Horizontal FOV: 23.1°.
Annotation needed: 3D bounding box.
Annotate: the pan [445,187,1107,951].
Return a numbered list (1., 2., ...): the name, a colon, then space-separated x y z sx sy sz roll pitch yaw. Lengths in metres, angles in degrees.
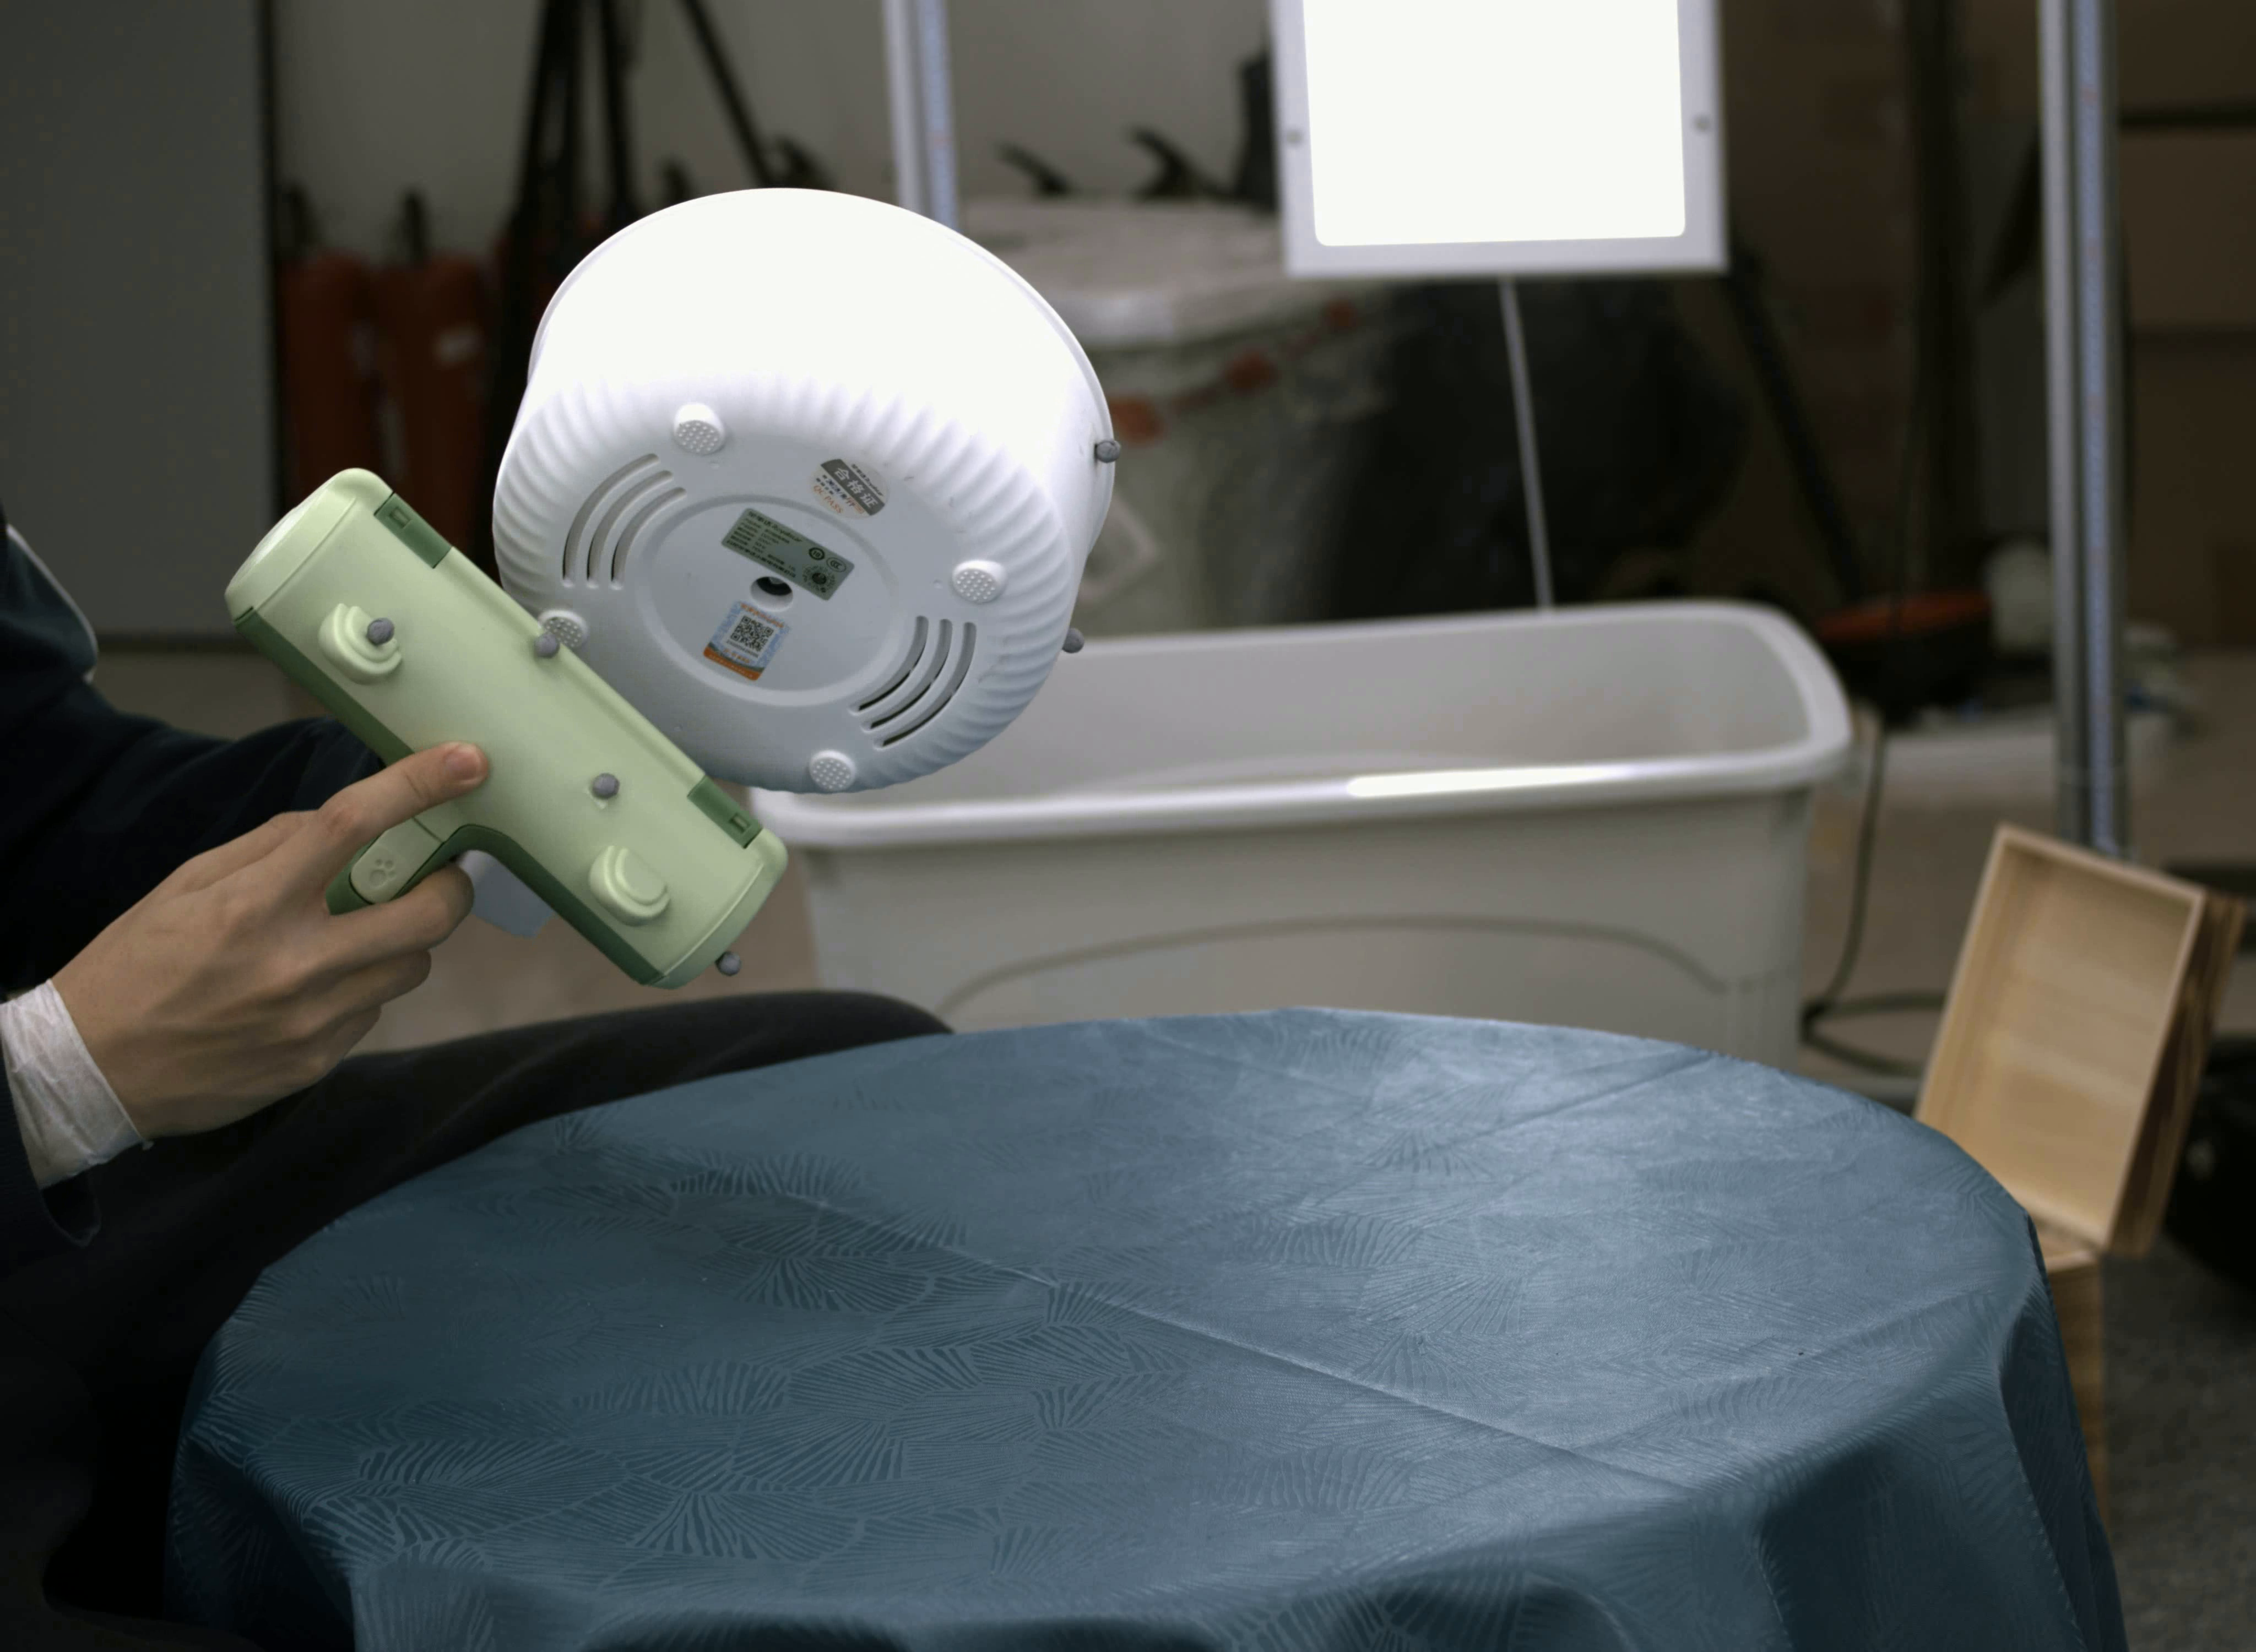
1. pan: -0.149 -0.056 1.872 0.199 0.361 0.101 28 41 -14

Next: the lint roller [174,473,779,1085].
1. lint roller: -0.240 0.016 1.774 0.183 0.197 0.083 -48 11 -4
